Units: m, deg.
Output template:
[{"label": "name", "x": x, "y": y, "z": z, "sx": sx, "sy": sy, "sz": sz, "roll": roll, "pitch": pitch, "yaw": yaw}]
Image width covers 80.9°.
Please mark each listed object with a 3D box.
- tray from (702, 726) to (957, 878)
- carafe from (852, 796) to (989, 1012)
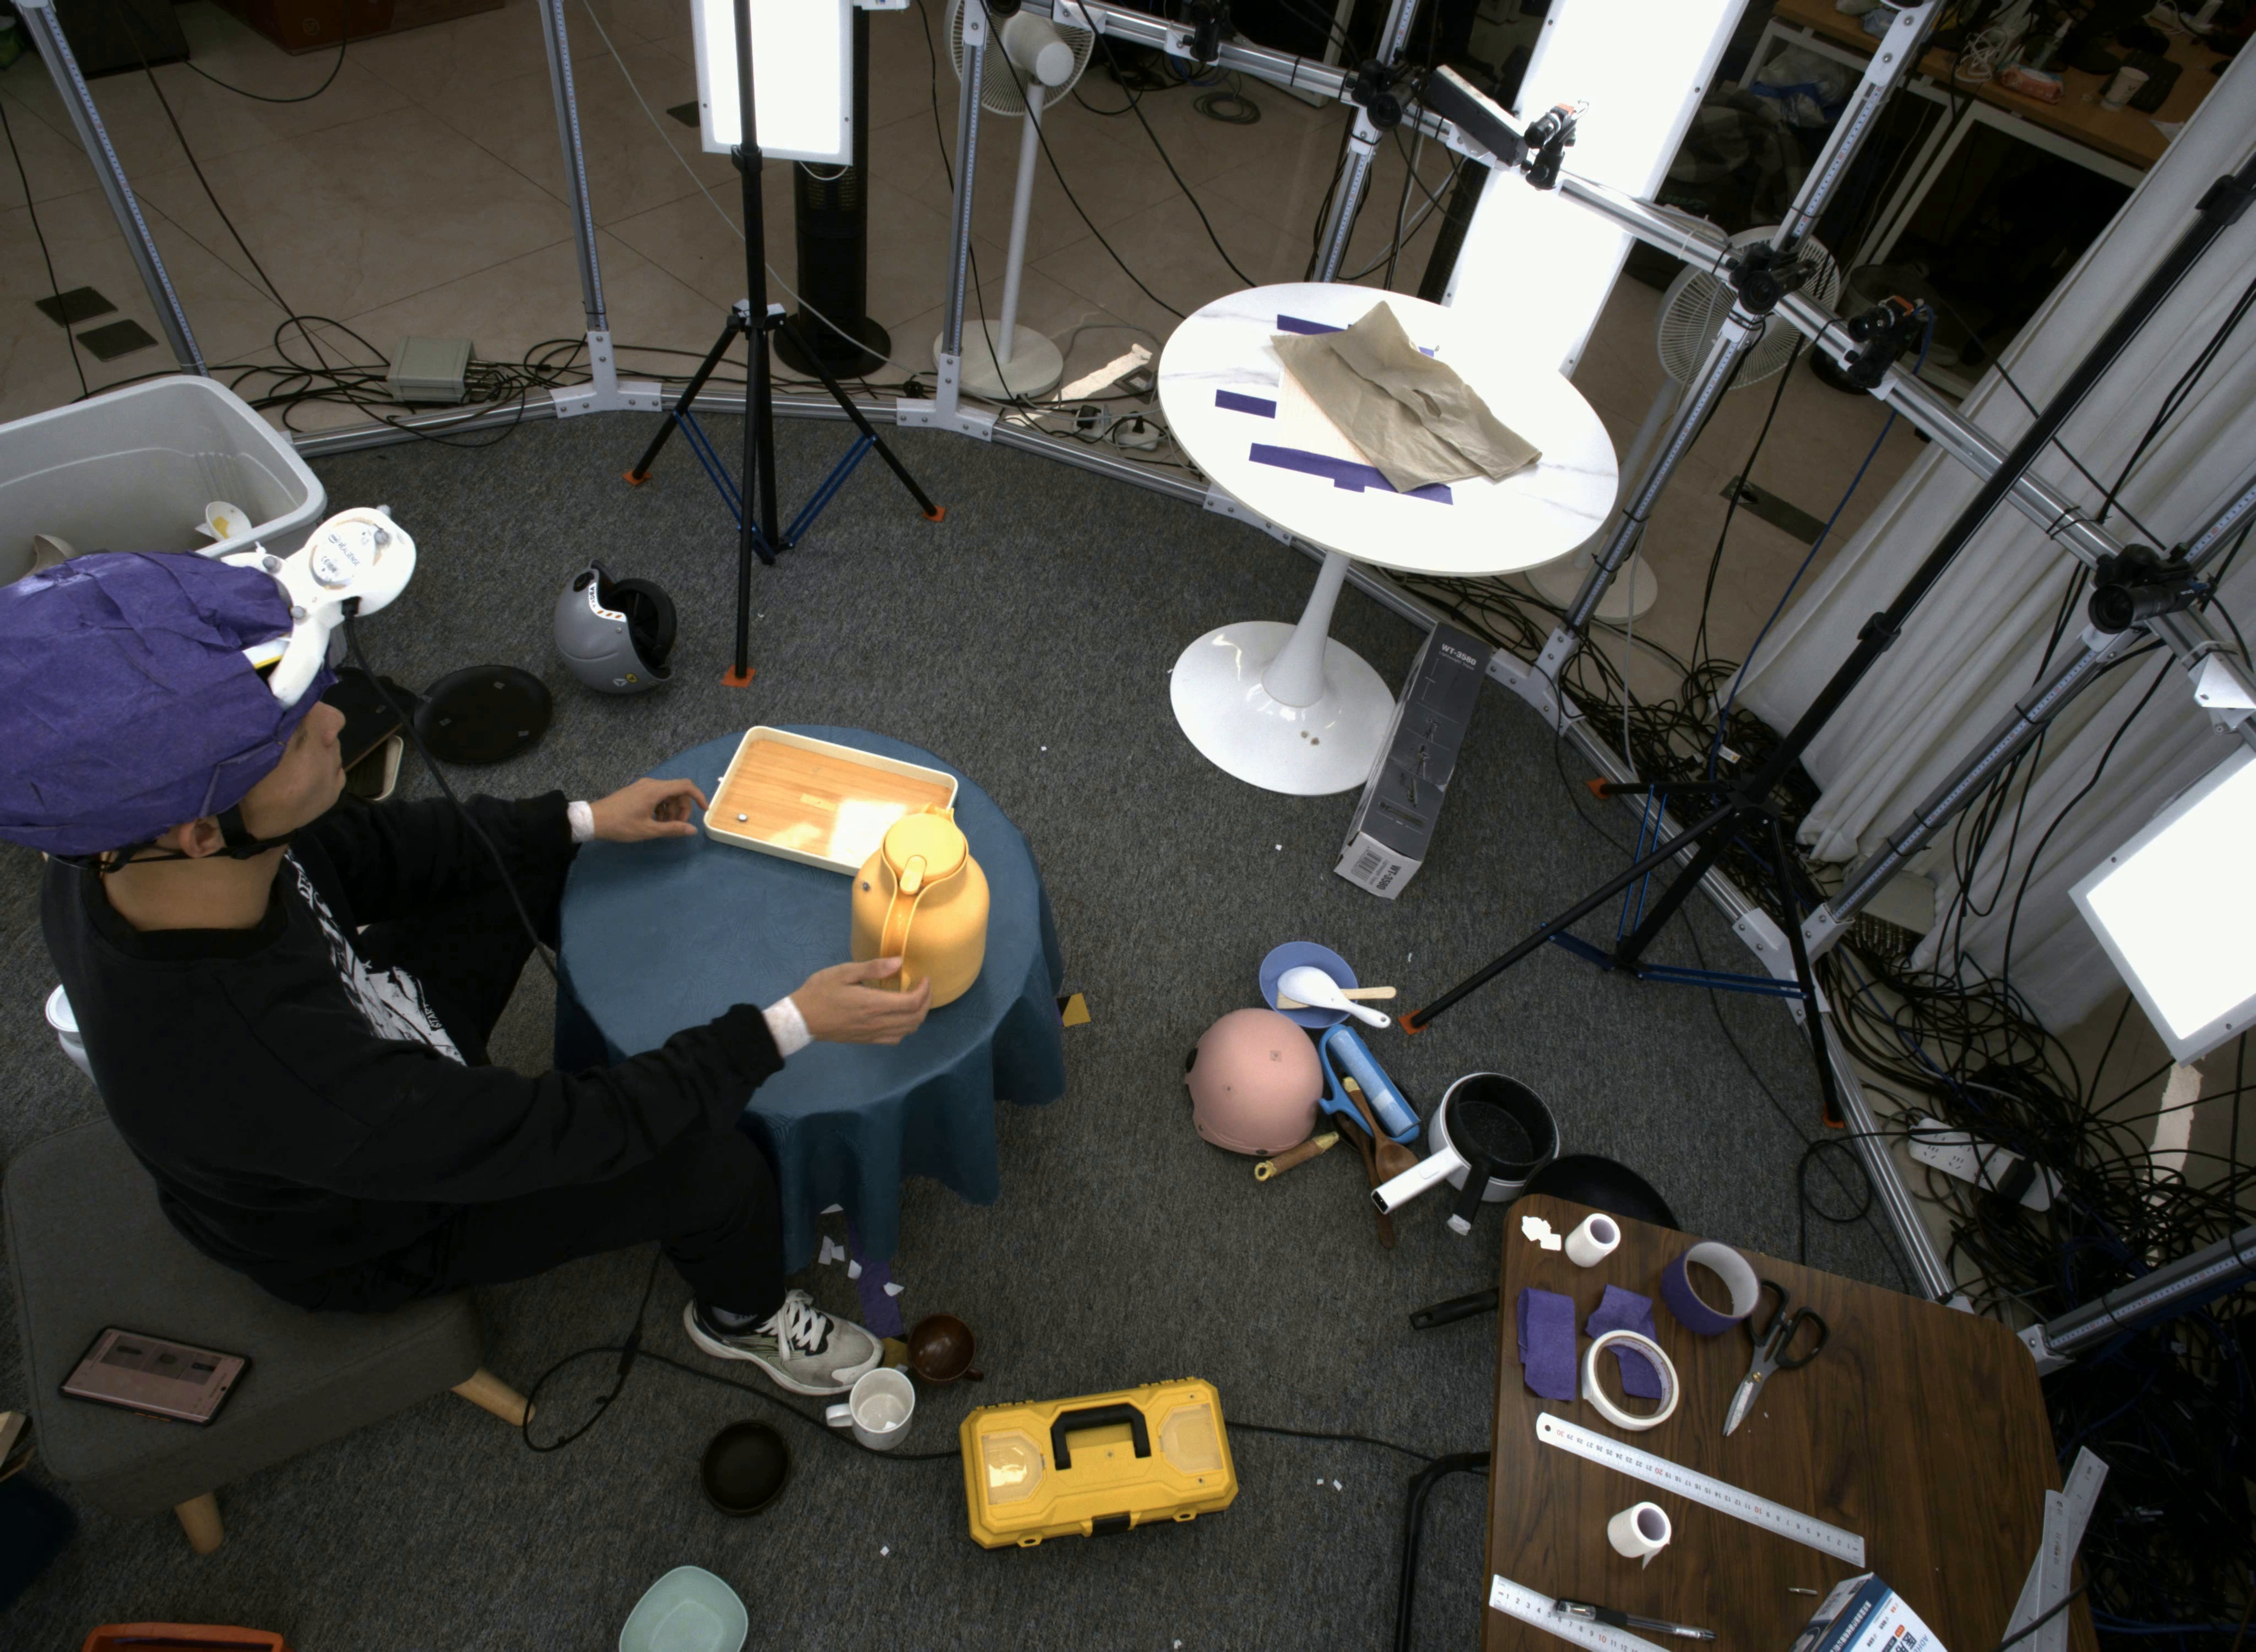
[{"label": "tray", "x": -0.394, "y": -0.026, "z": 1.732, "sx": 0.298, "sy": 0.028, "sz": 0.189, "roll": 15, "pitch": 51, "yaw": -3}, {"label": "carafe", "x": -0.250, "y": 0.104, "z": 1.519, "sx": 0.161, "sy": 0.267, "sz": 0.200, "roll": 14, "pitch": 49, "yaw": 3}]
